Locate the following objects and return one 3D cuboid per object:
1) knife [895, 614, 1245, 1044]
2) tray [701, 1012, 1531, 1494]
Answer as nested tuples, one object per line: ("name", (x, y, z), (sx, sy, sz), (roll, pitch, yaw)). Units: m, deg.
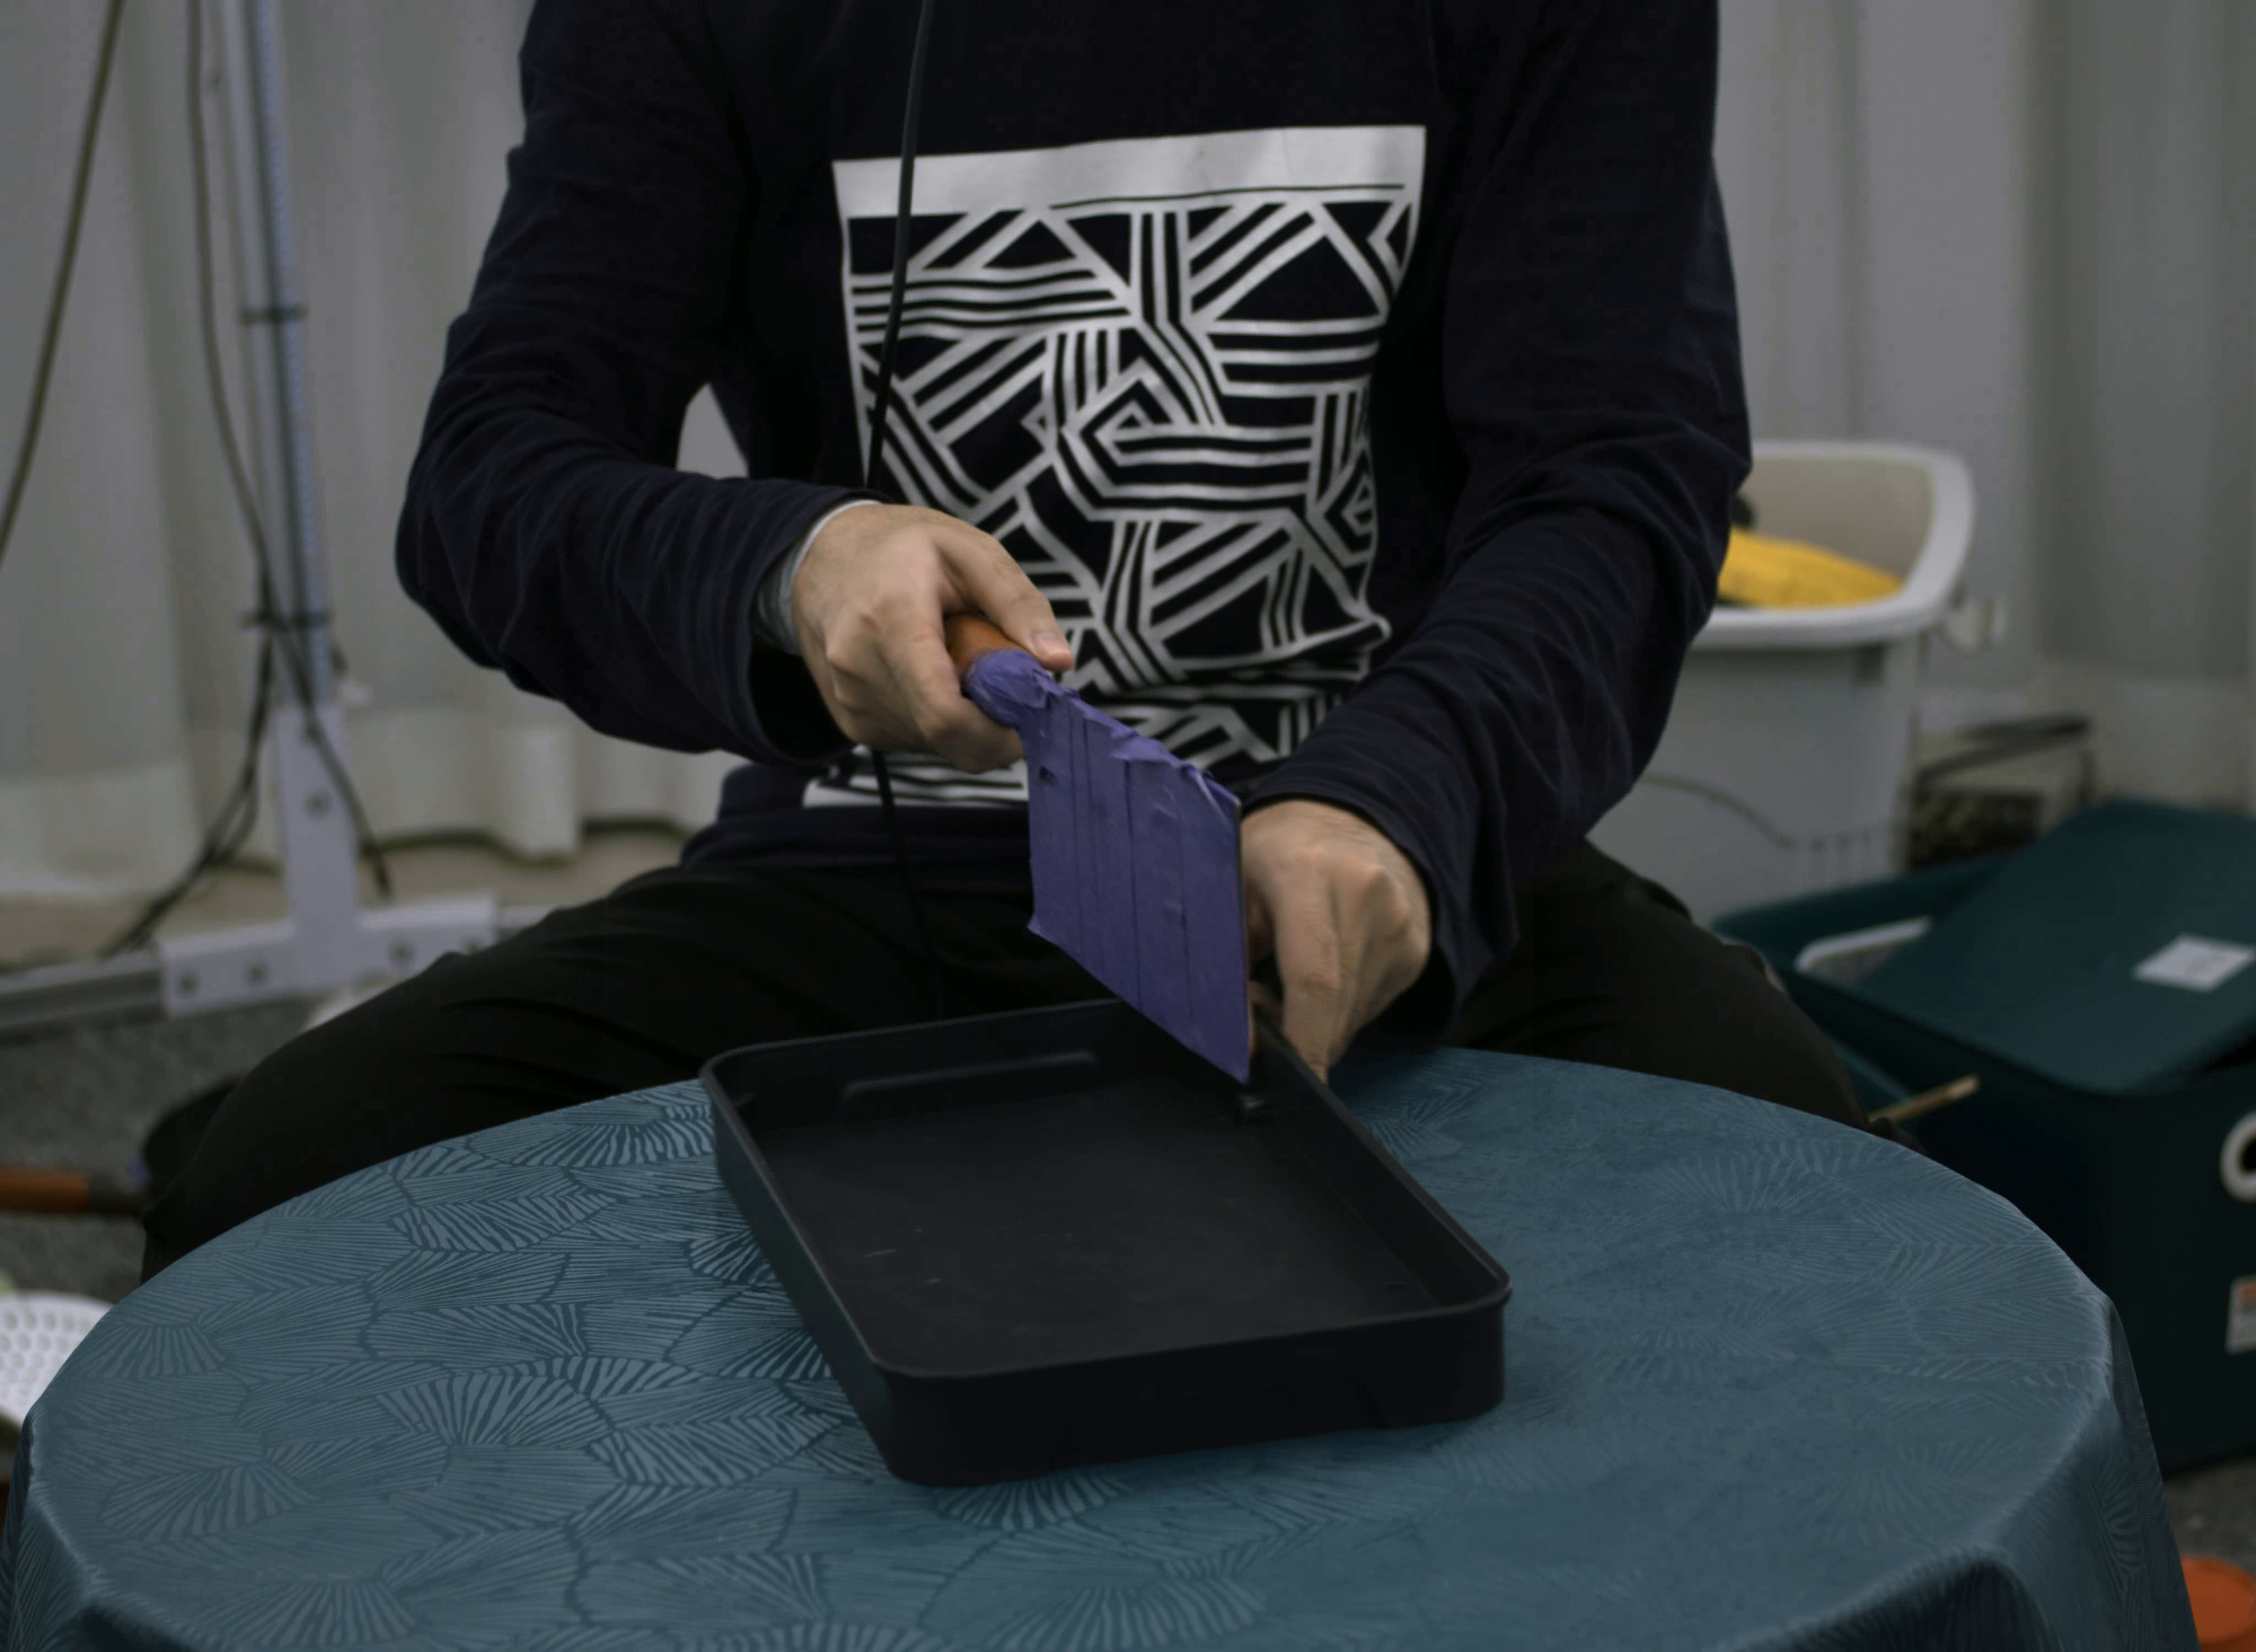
("knife", (-0.021, -0.001, 1.736), (0.032, 0.103, 0.317), (-4, 12, -16))
("tray", (-0.011, 0.120, 1.632), (0.183, 0.037, 0.320), (-7, 14, -13))
